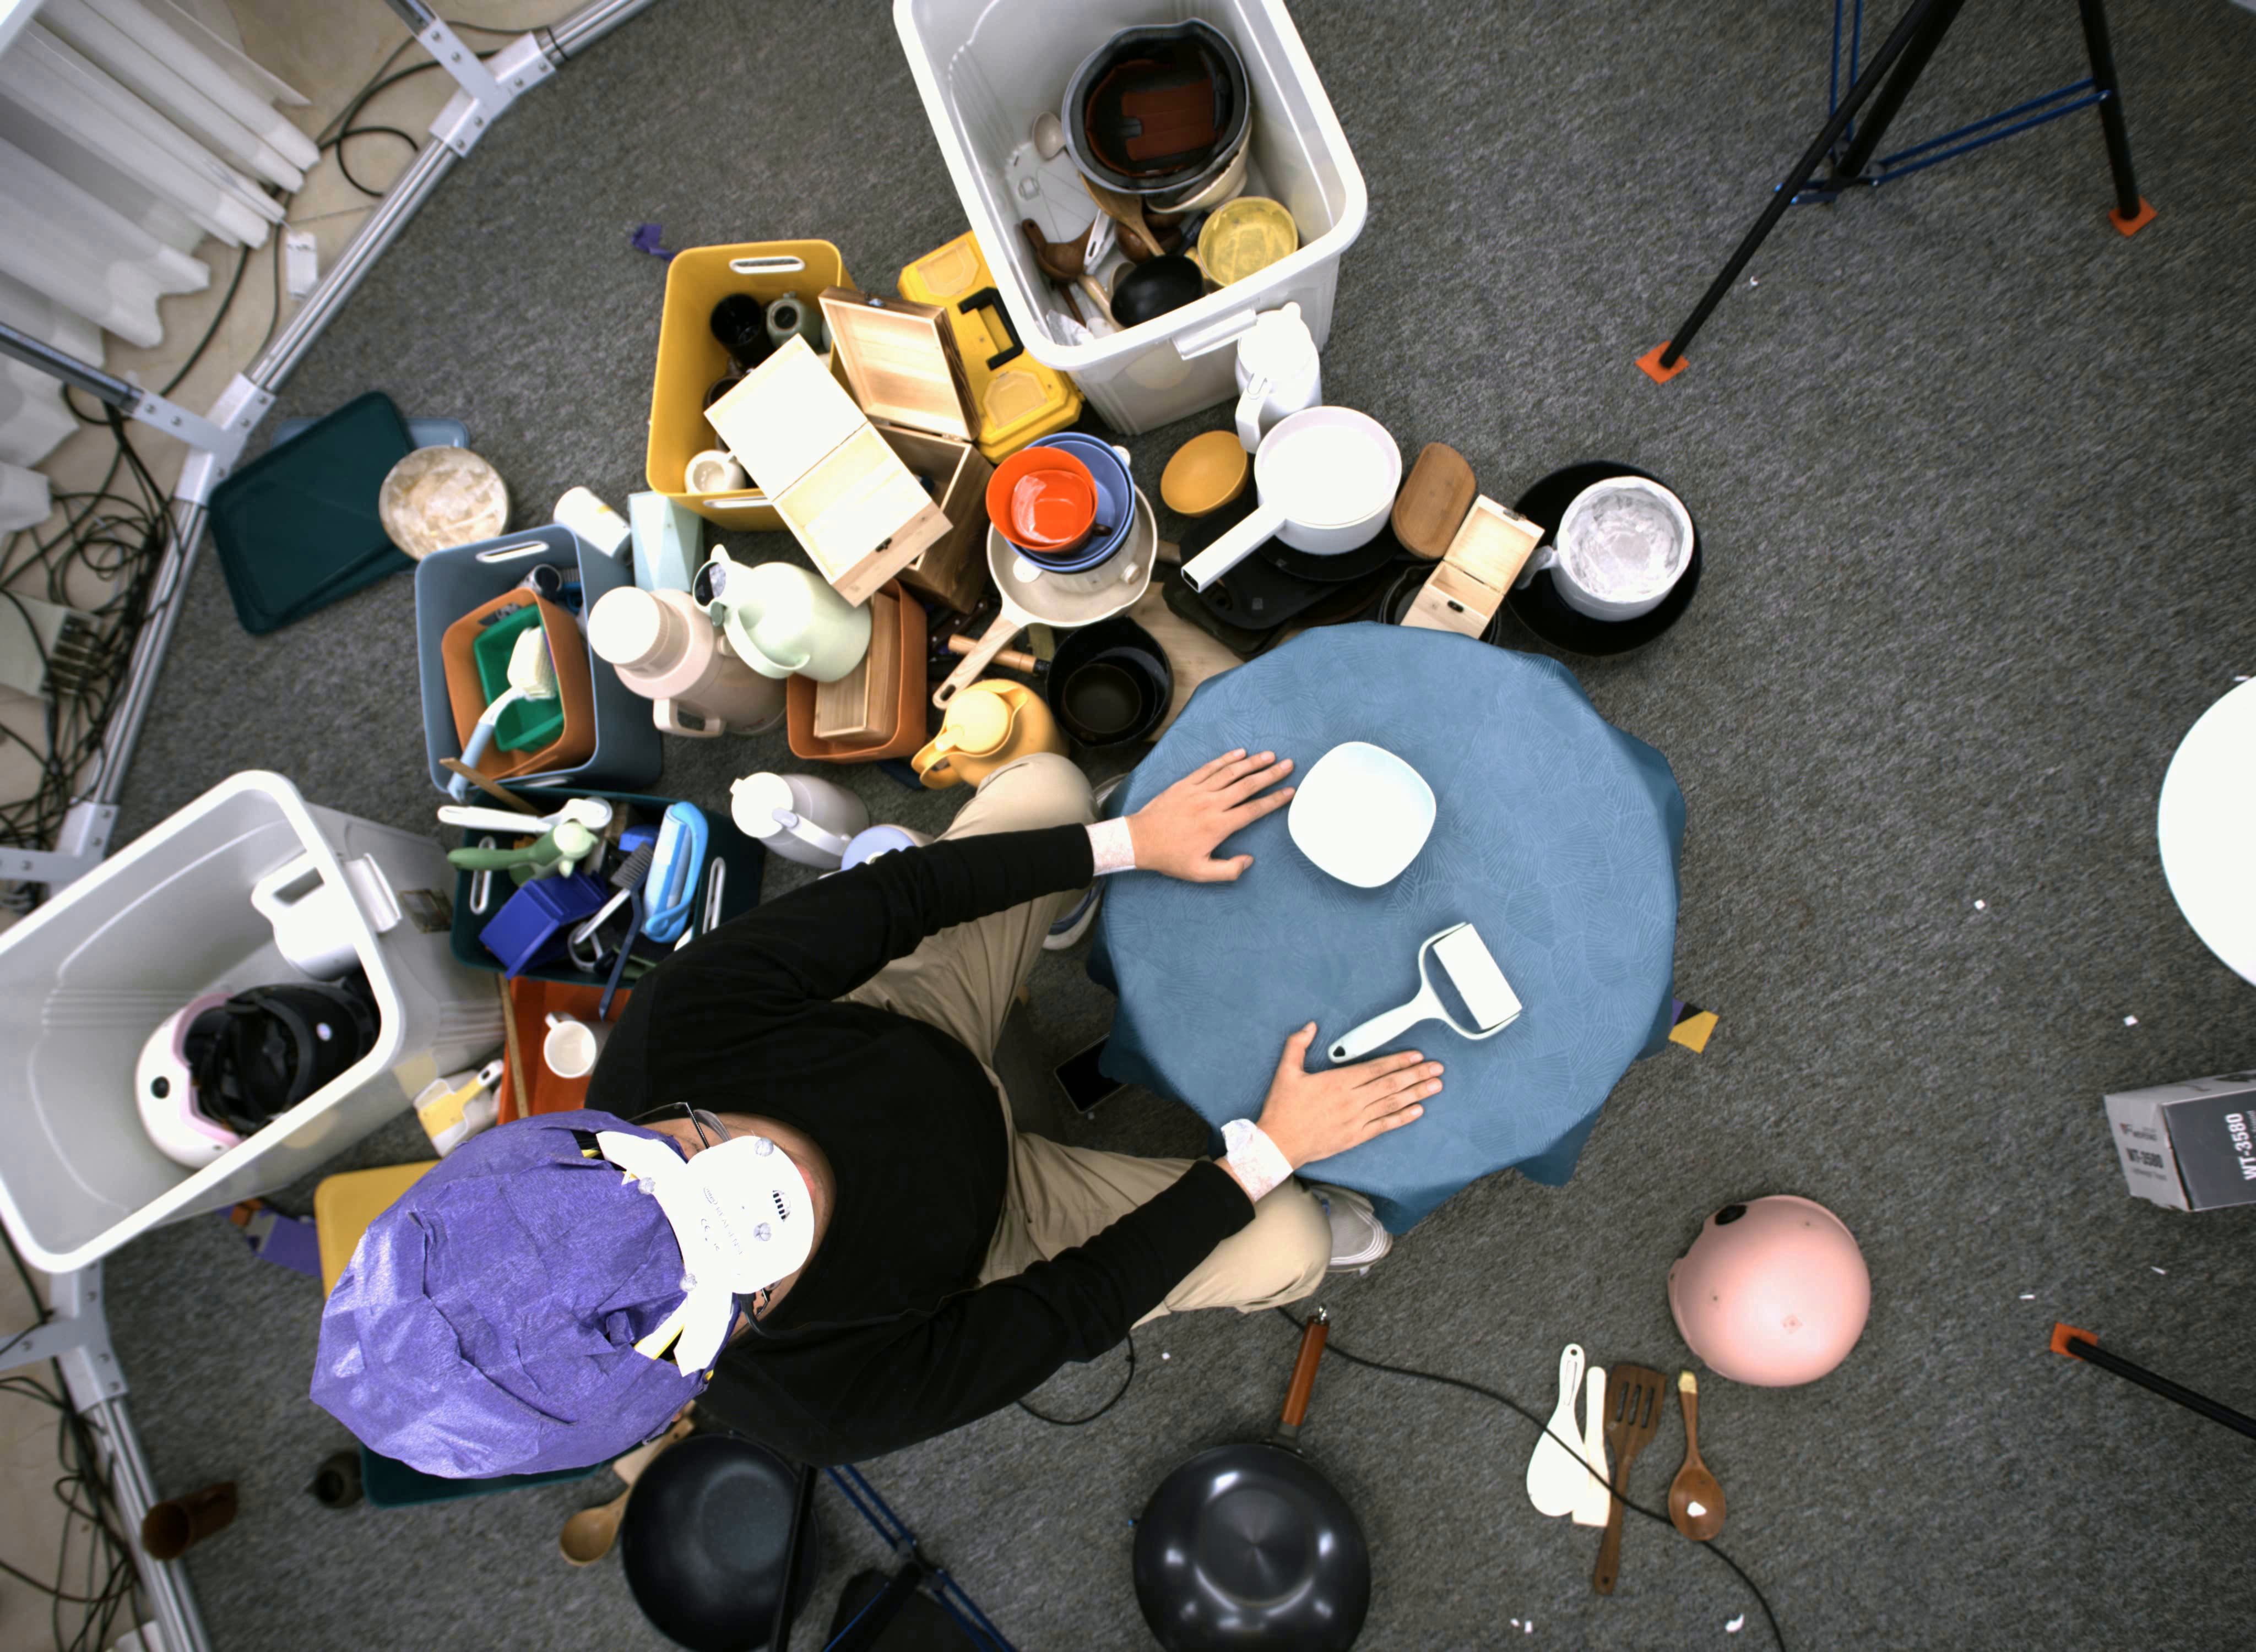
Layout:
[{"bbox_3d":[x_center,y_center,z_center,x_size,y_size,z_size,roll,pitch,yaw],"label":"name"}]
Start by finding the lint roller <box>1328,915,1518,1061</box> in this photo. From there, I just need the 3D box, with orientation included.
[{"bbox_3d":[0.291,0.183,1.427,0.199,0.048,0.116,-31,83,9],"label":"lint roller"}]

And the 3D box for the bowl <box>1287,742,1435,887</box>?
[{"bbox_3d":[0.243,-0.010,1.441,0.152,0.059,0.150,-1,86,9],"label":"bowl"}]
